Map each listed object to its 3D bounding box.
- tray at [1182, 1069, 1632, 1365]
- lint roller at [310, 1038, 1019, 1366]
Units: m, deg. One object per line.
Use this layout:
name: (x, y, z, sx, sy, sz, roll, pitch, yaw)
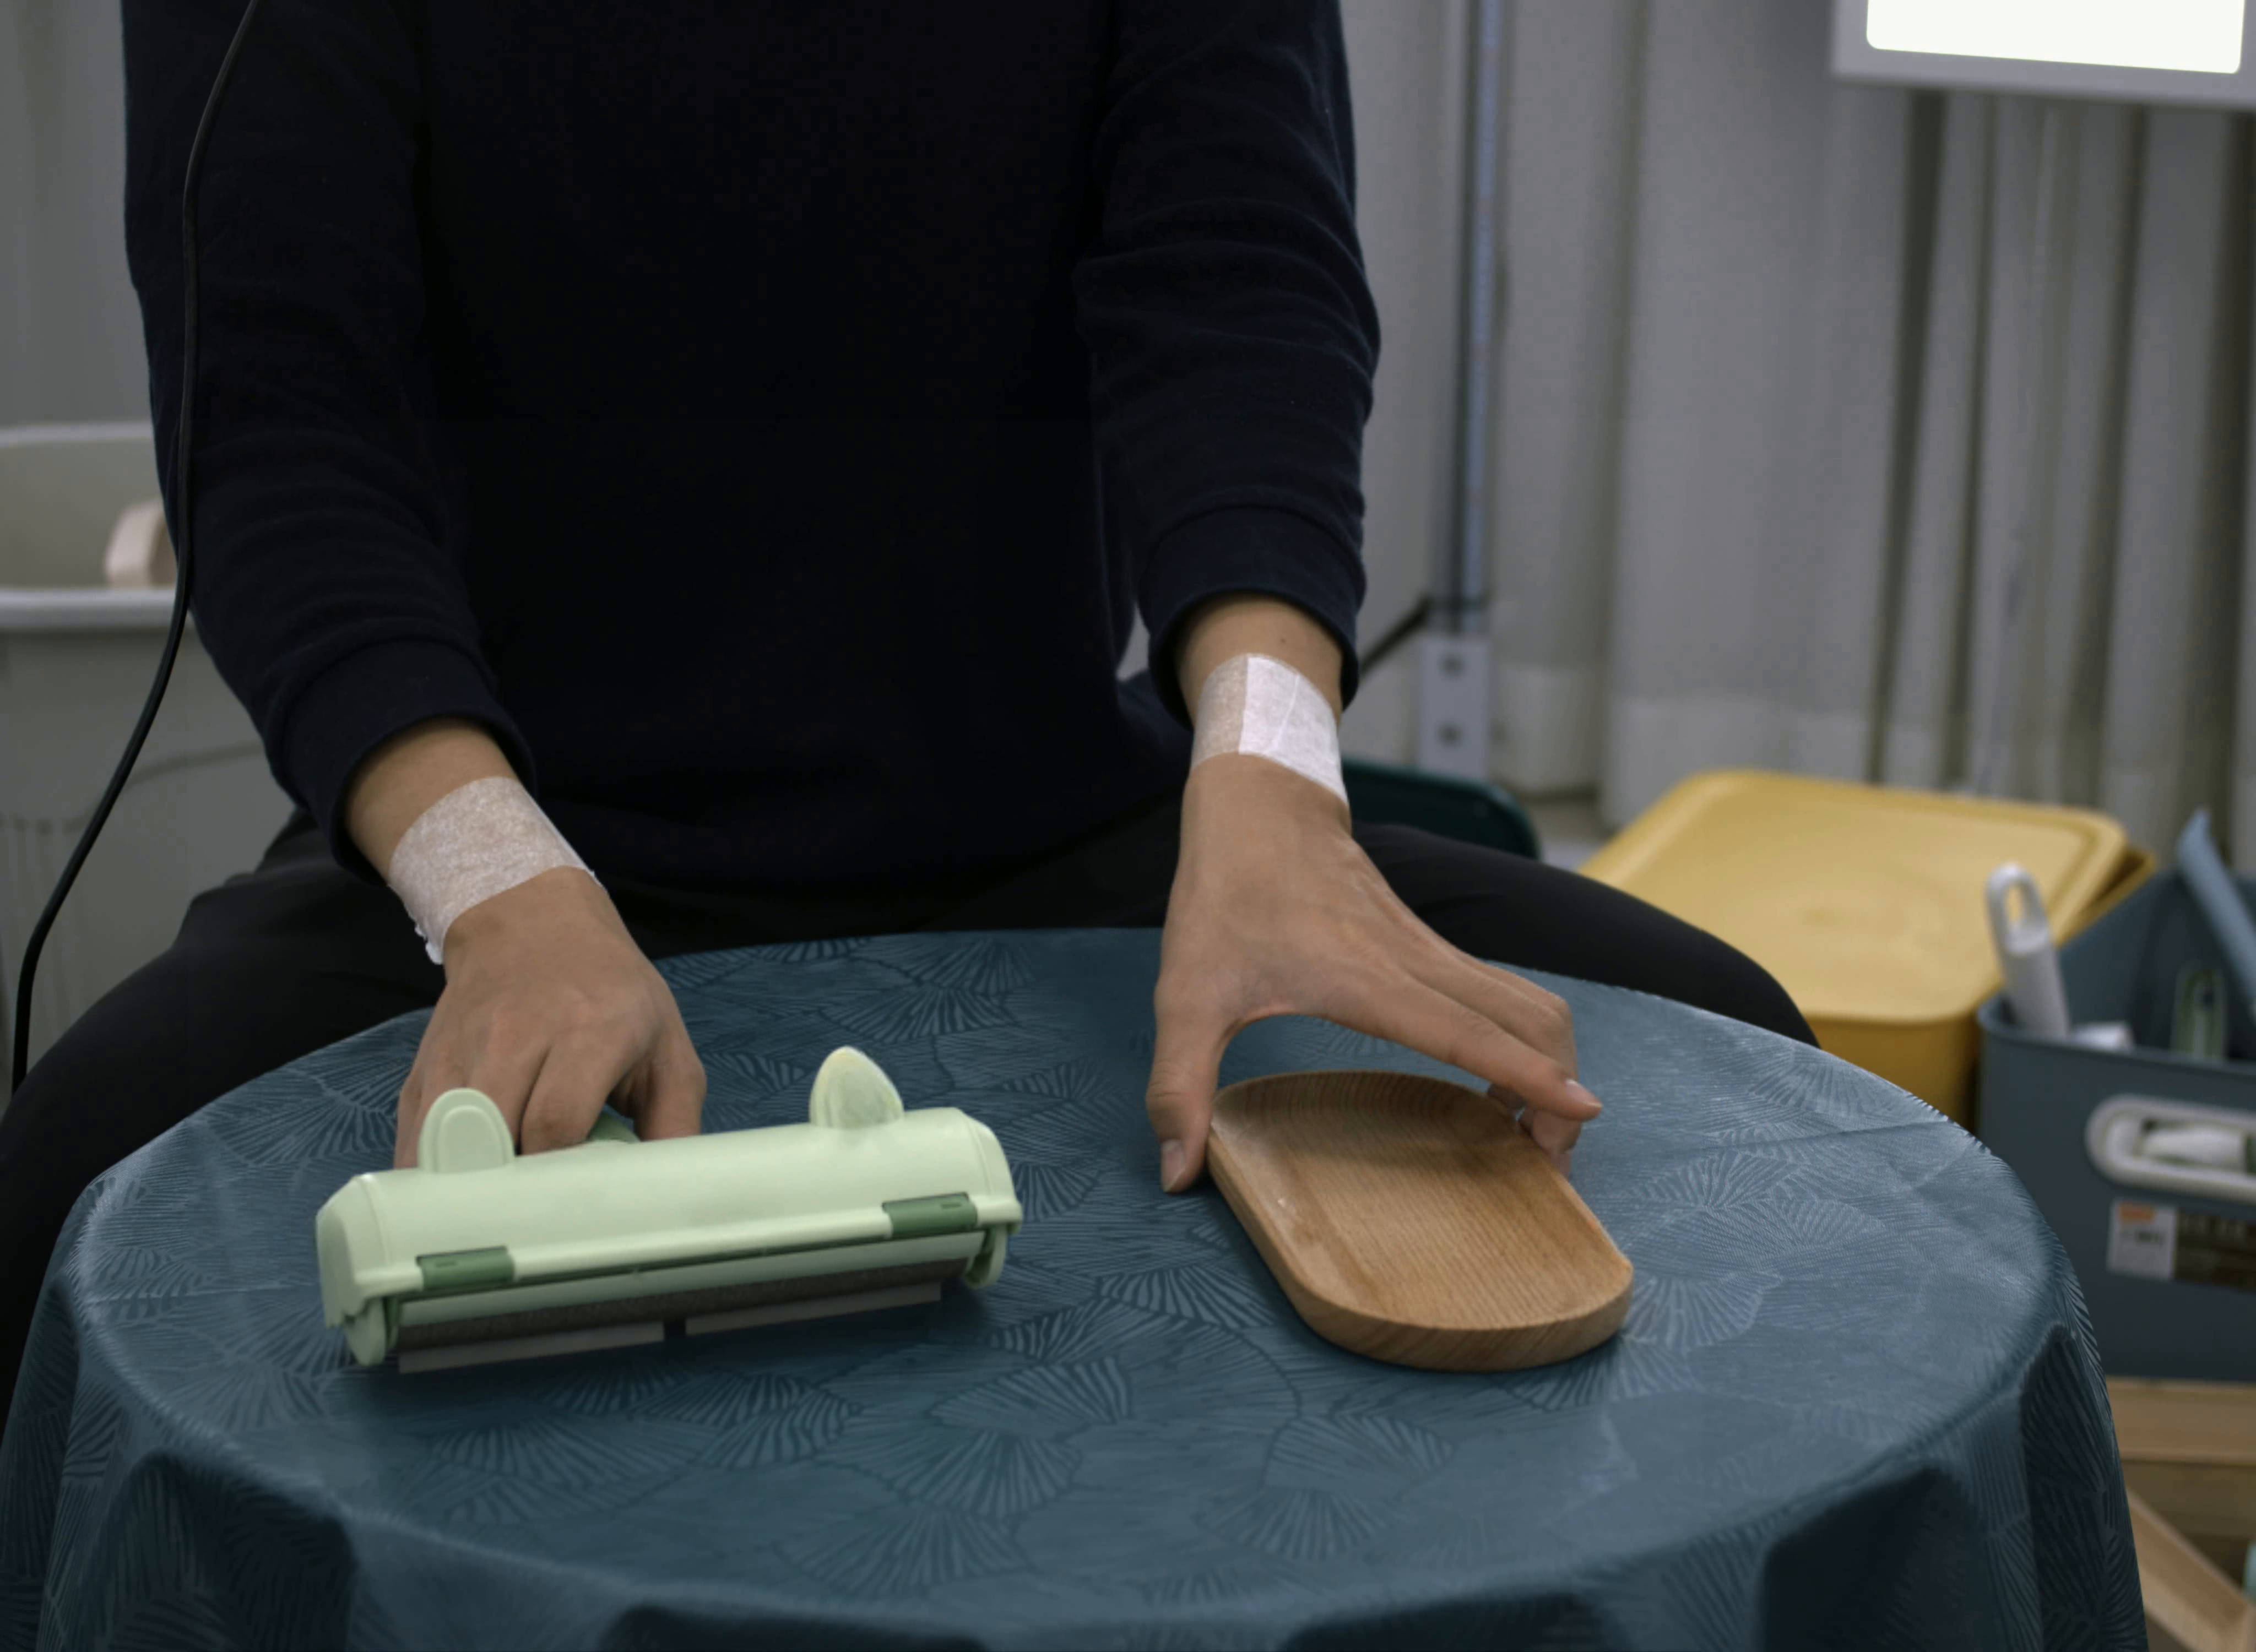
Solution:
tray: (0.081, 0.115, 1.585, 0.102, 0.020, 0.229, -2, 15, -13)
lint roller: (-0.151, 0.089, 1.539, 0.199, 0.083, 0.181, -5, 23, -22)
